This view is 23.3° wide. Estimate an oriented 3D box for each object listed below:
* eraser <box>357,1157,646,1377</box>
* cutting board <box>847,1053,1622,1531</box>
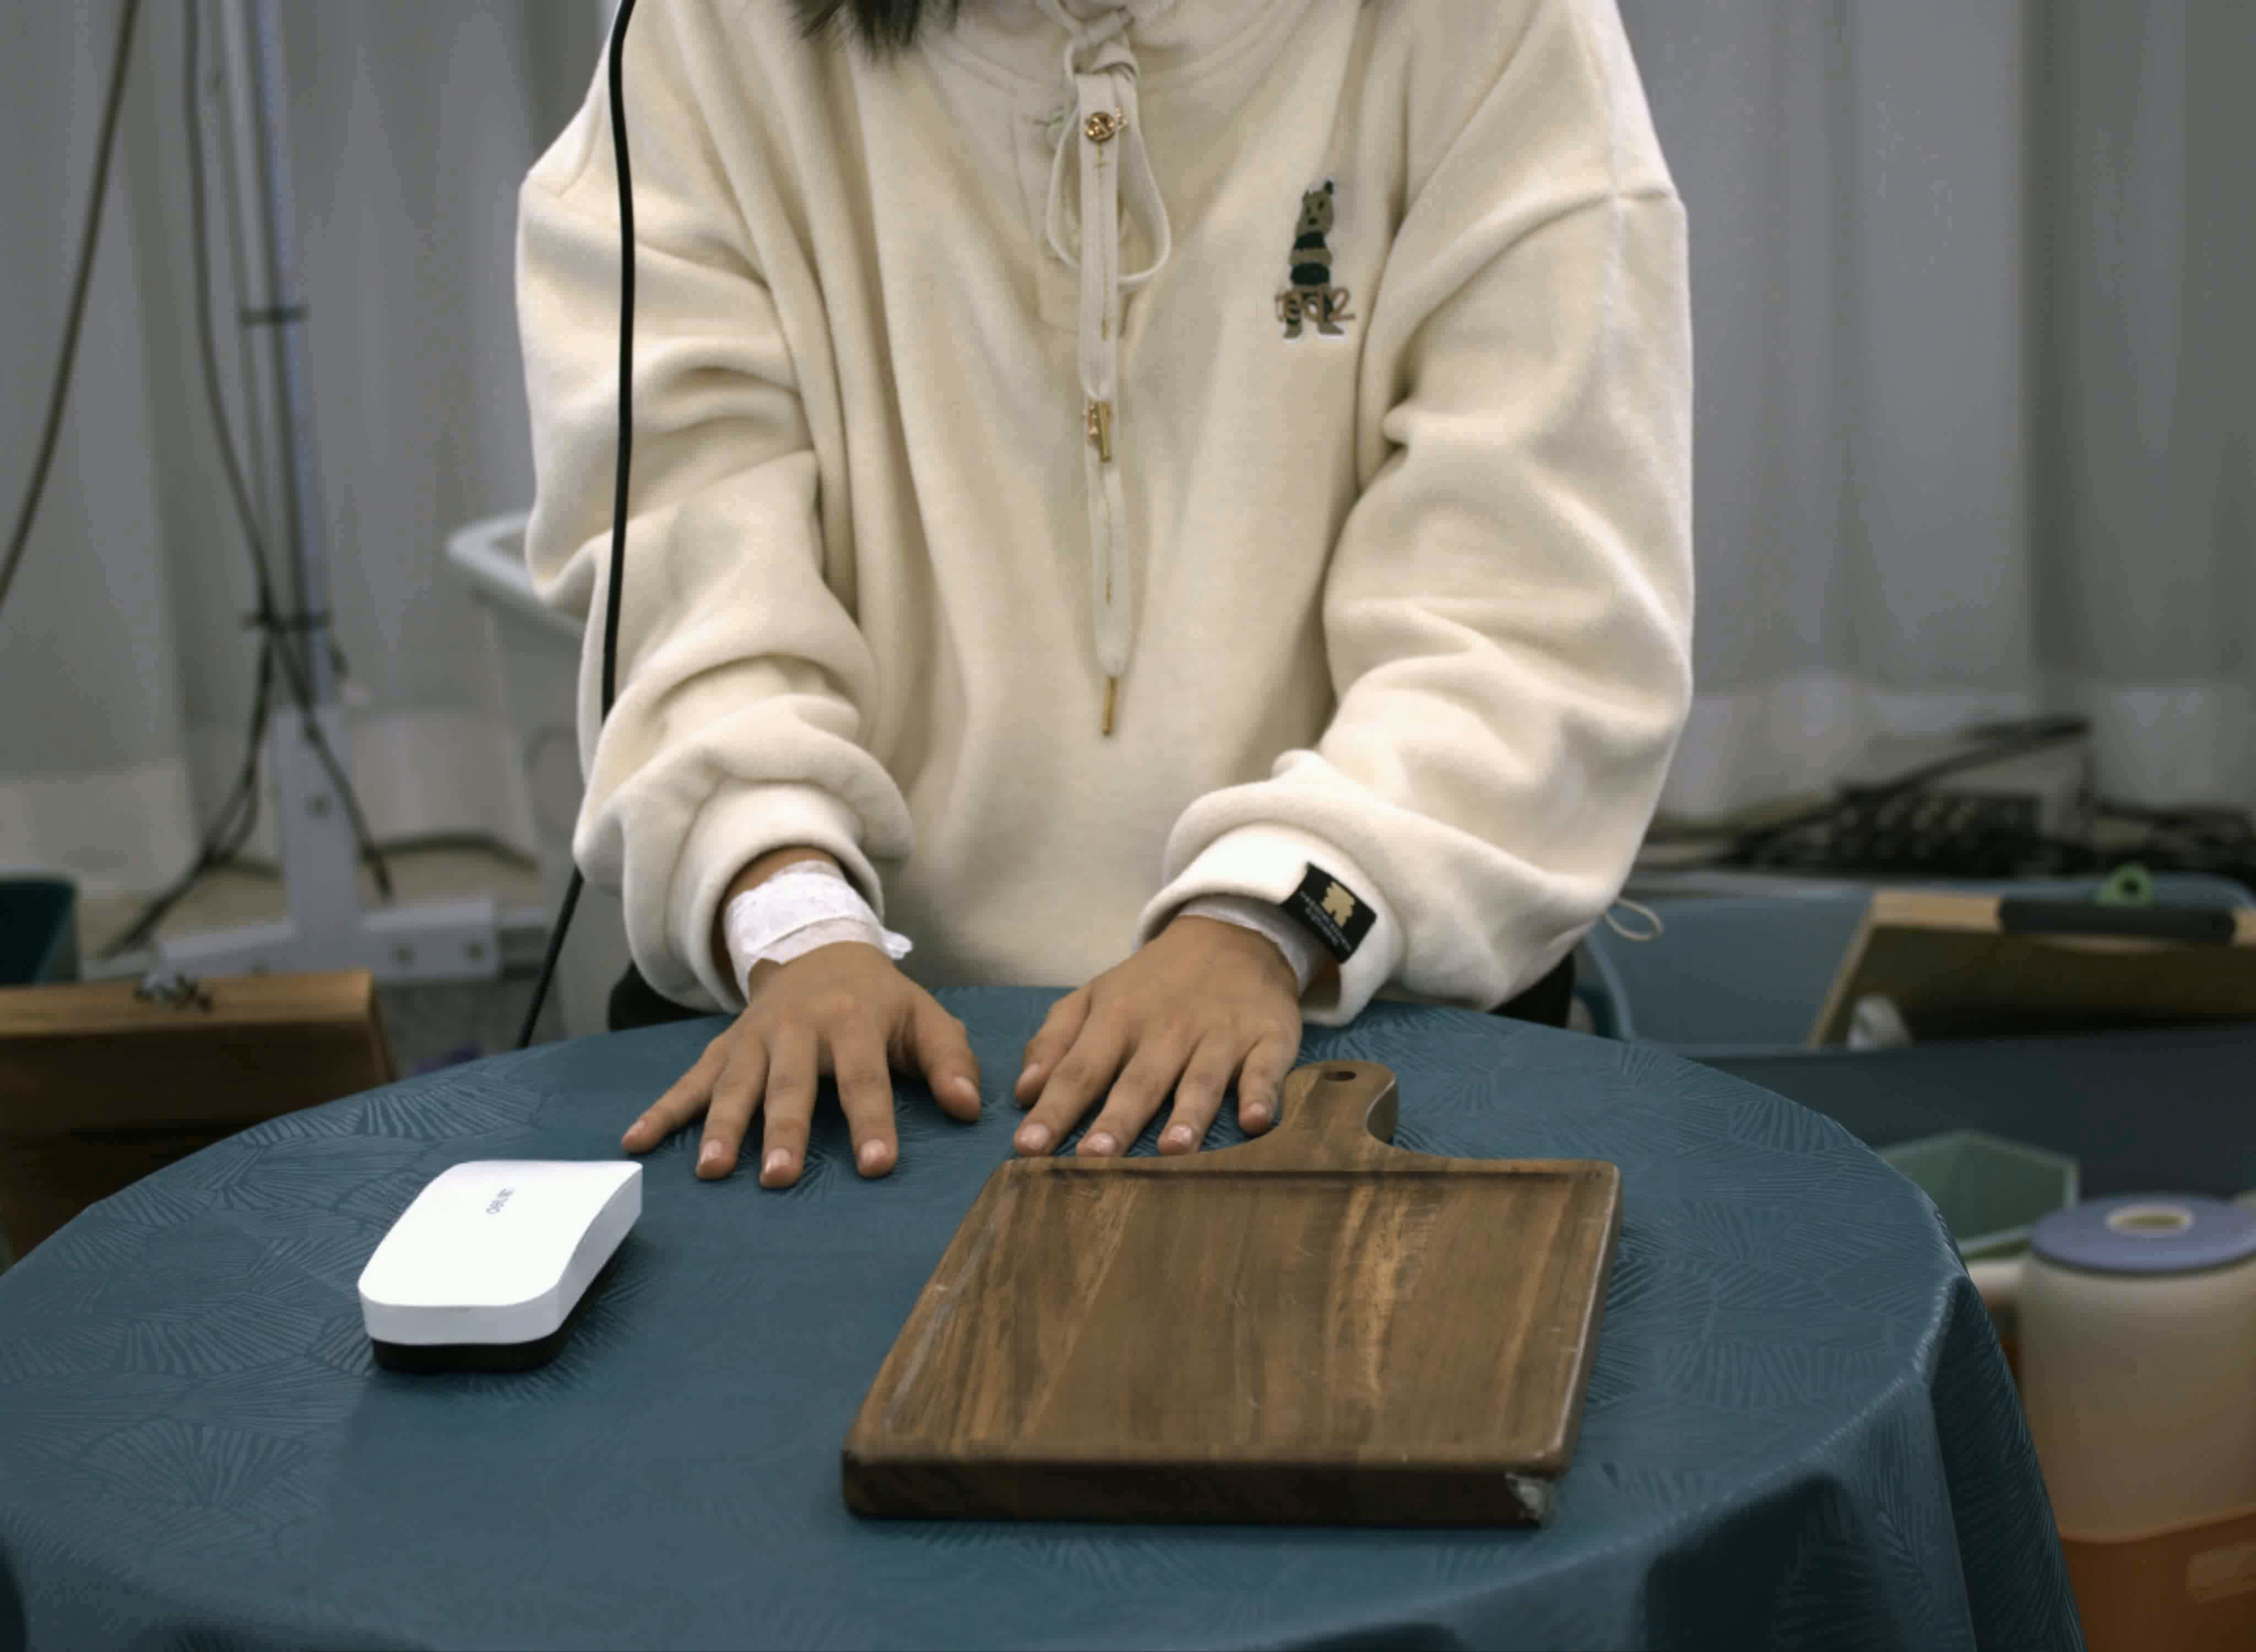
[{"bbox_3d":[-0.185,0.128,1.641,0.063,0.034,0.132,-1,15,11],"label":"eraser"},{"bbox_3d":[0.044,0.130,1.606,0.200,0.023,0.354,0,15,9],"label":"cutting board"}]
